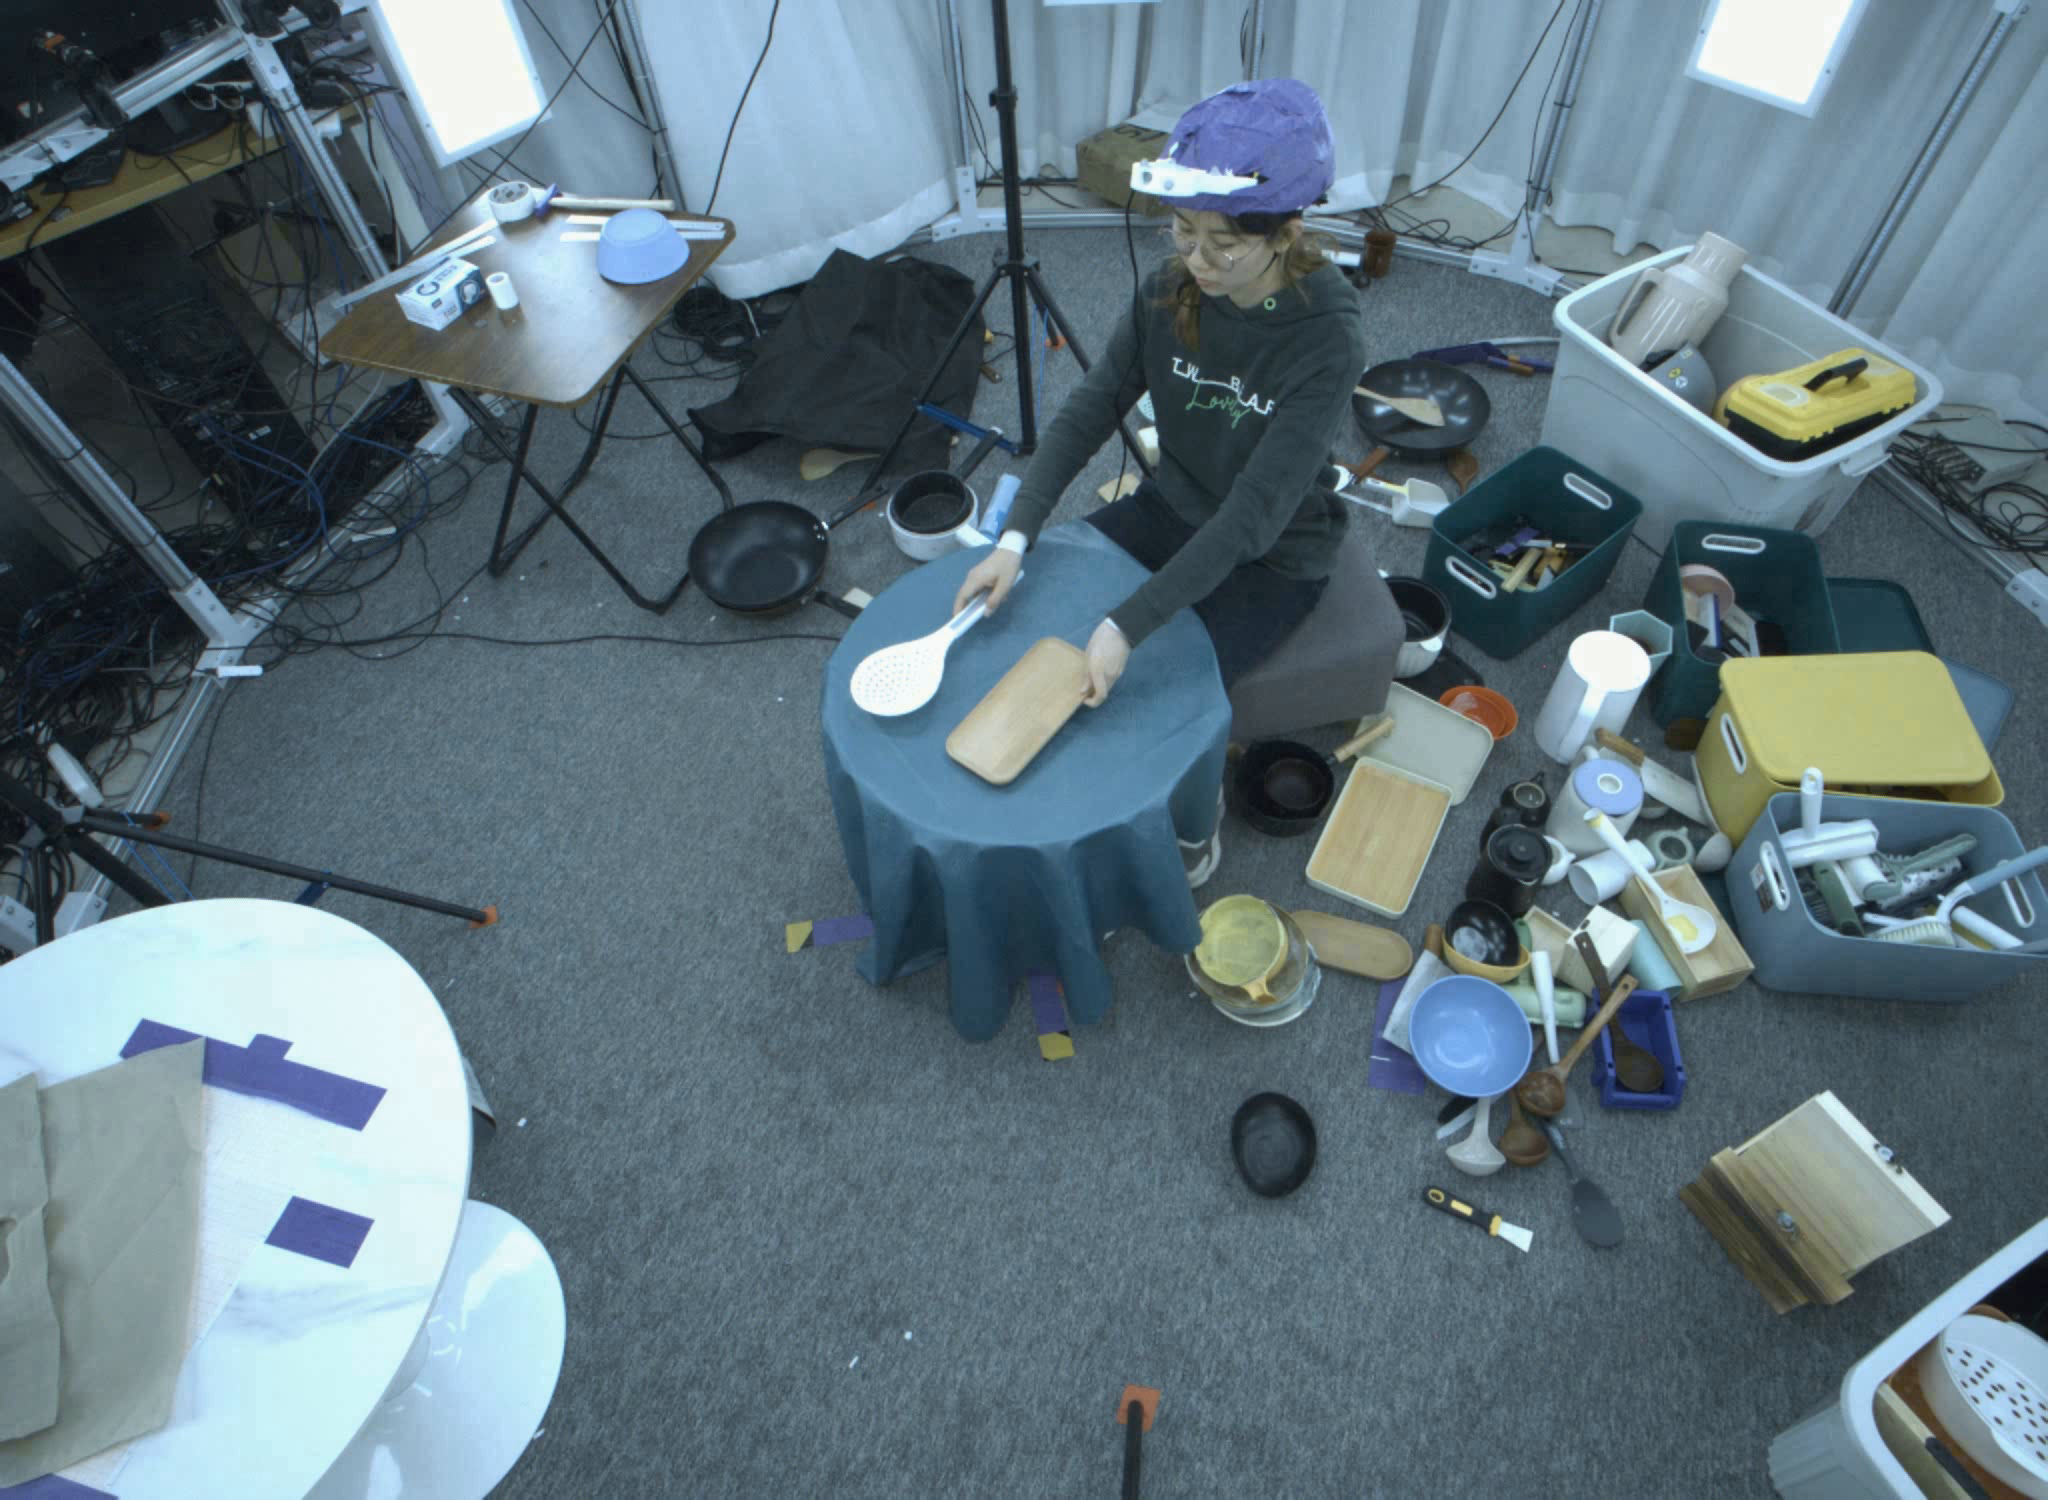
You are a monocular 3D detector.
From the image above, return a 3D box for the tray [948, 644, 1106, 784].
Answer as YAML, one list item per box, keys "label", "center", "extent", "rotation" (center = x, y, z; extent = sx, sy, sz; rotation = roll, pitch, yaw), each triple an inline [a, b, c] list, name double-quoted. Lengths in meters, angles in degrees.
- label: "tray"
  center: [0.006, -0.055, 1.807]
  extent: [0.128, 0.023, 0.252]
  rotation: [32, 65, 29]

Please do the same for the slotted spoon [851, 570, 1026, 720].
- label: "slotted spoon"
  center: [-0.119, -0.166, 1.875]
  extent: [0.133, 0.046, 0.351]
  rotation: [33, 68, 24]
